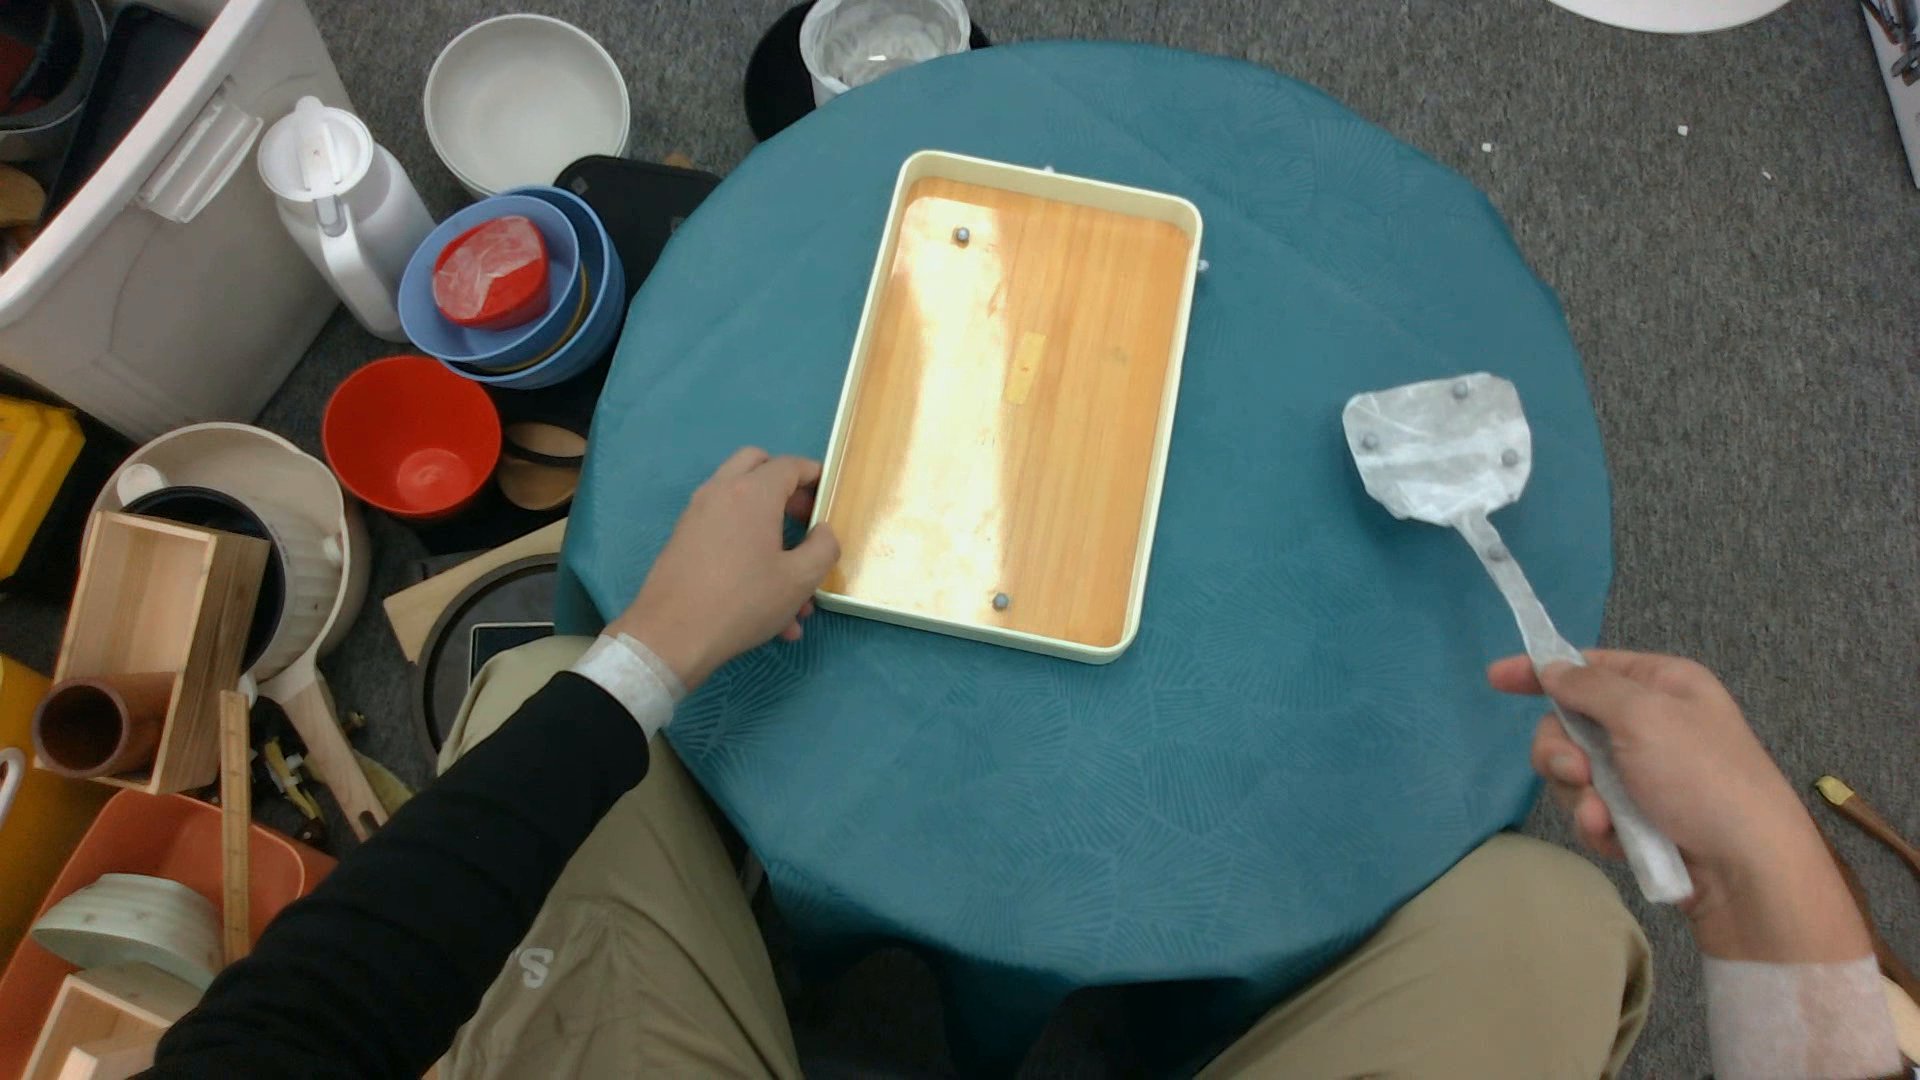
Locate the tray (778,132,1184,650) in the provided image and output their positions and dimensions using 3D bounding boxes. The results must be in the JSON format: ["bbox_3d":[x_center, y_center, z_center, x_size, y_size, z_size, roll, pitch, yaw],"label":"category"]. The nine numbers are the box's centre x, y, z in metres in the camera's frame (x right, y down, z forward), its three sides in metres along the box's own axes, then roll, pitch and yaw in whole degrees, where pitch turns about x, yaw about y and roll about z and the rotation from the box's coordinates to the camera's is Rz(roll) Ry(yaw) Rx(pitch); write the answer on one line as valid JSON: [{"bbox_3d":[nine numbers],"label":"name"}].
[{"bbox_3d":[0.018,-0.095,0.807,0.191,0.027,0.301,12,70,1],"label":"tray"}]

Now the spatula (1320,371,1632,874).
[{"bbox_3d":[0.257,0.014,0.672,0.098,0.044,0.366,-8,30,7],"label":"spatula"}]
